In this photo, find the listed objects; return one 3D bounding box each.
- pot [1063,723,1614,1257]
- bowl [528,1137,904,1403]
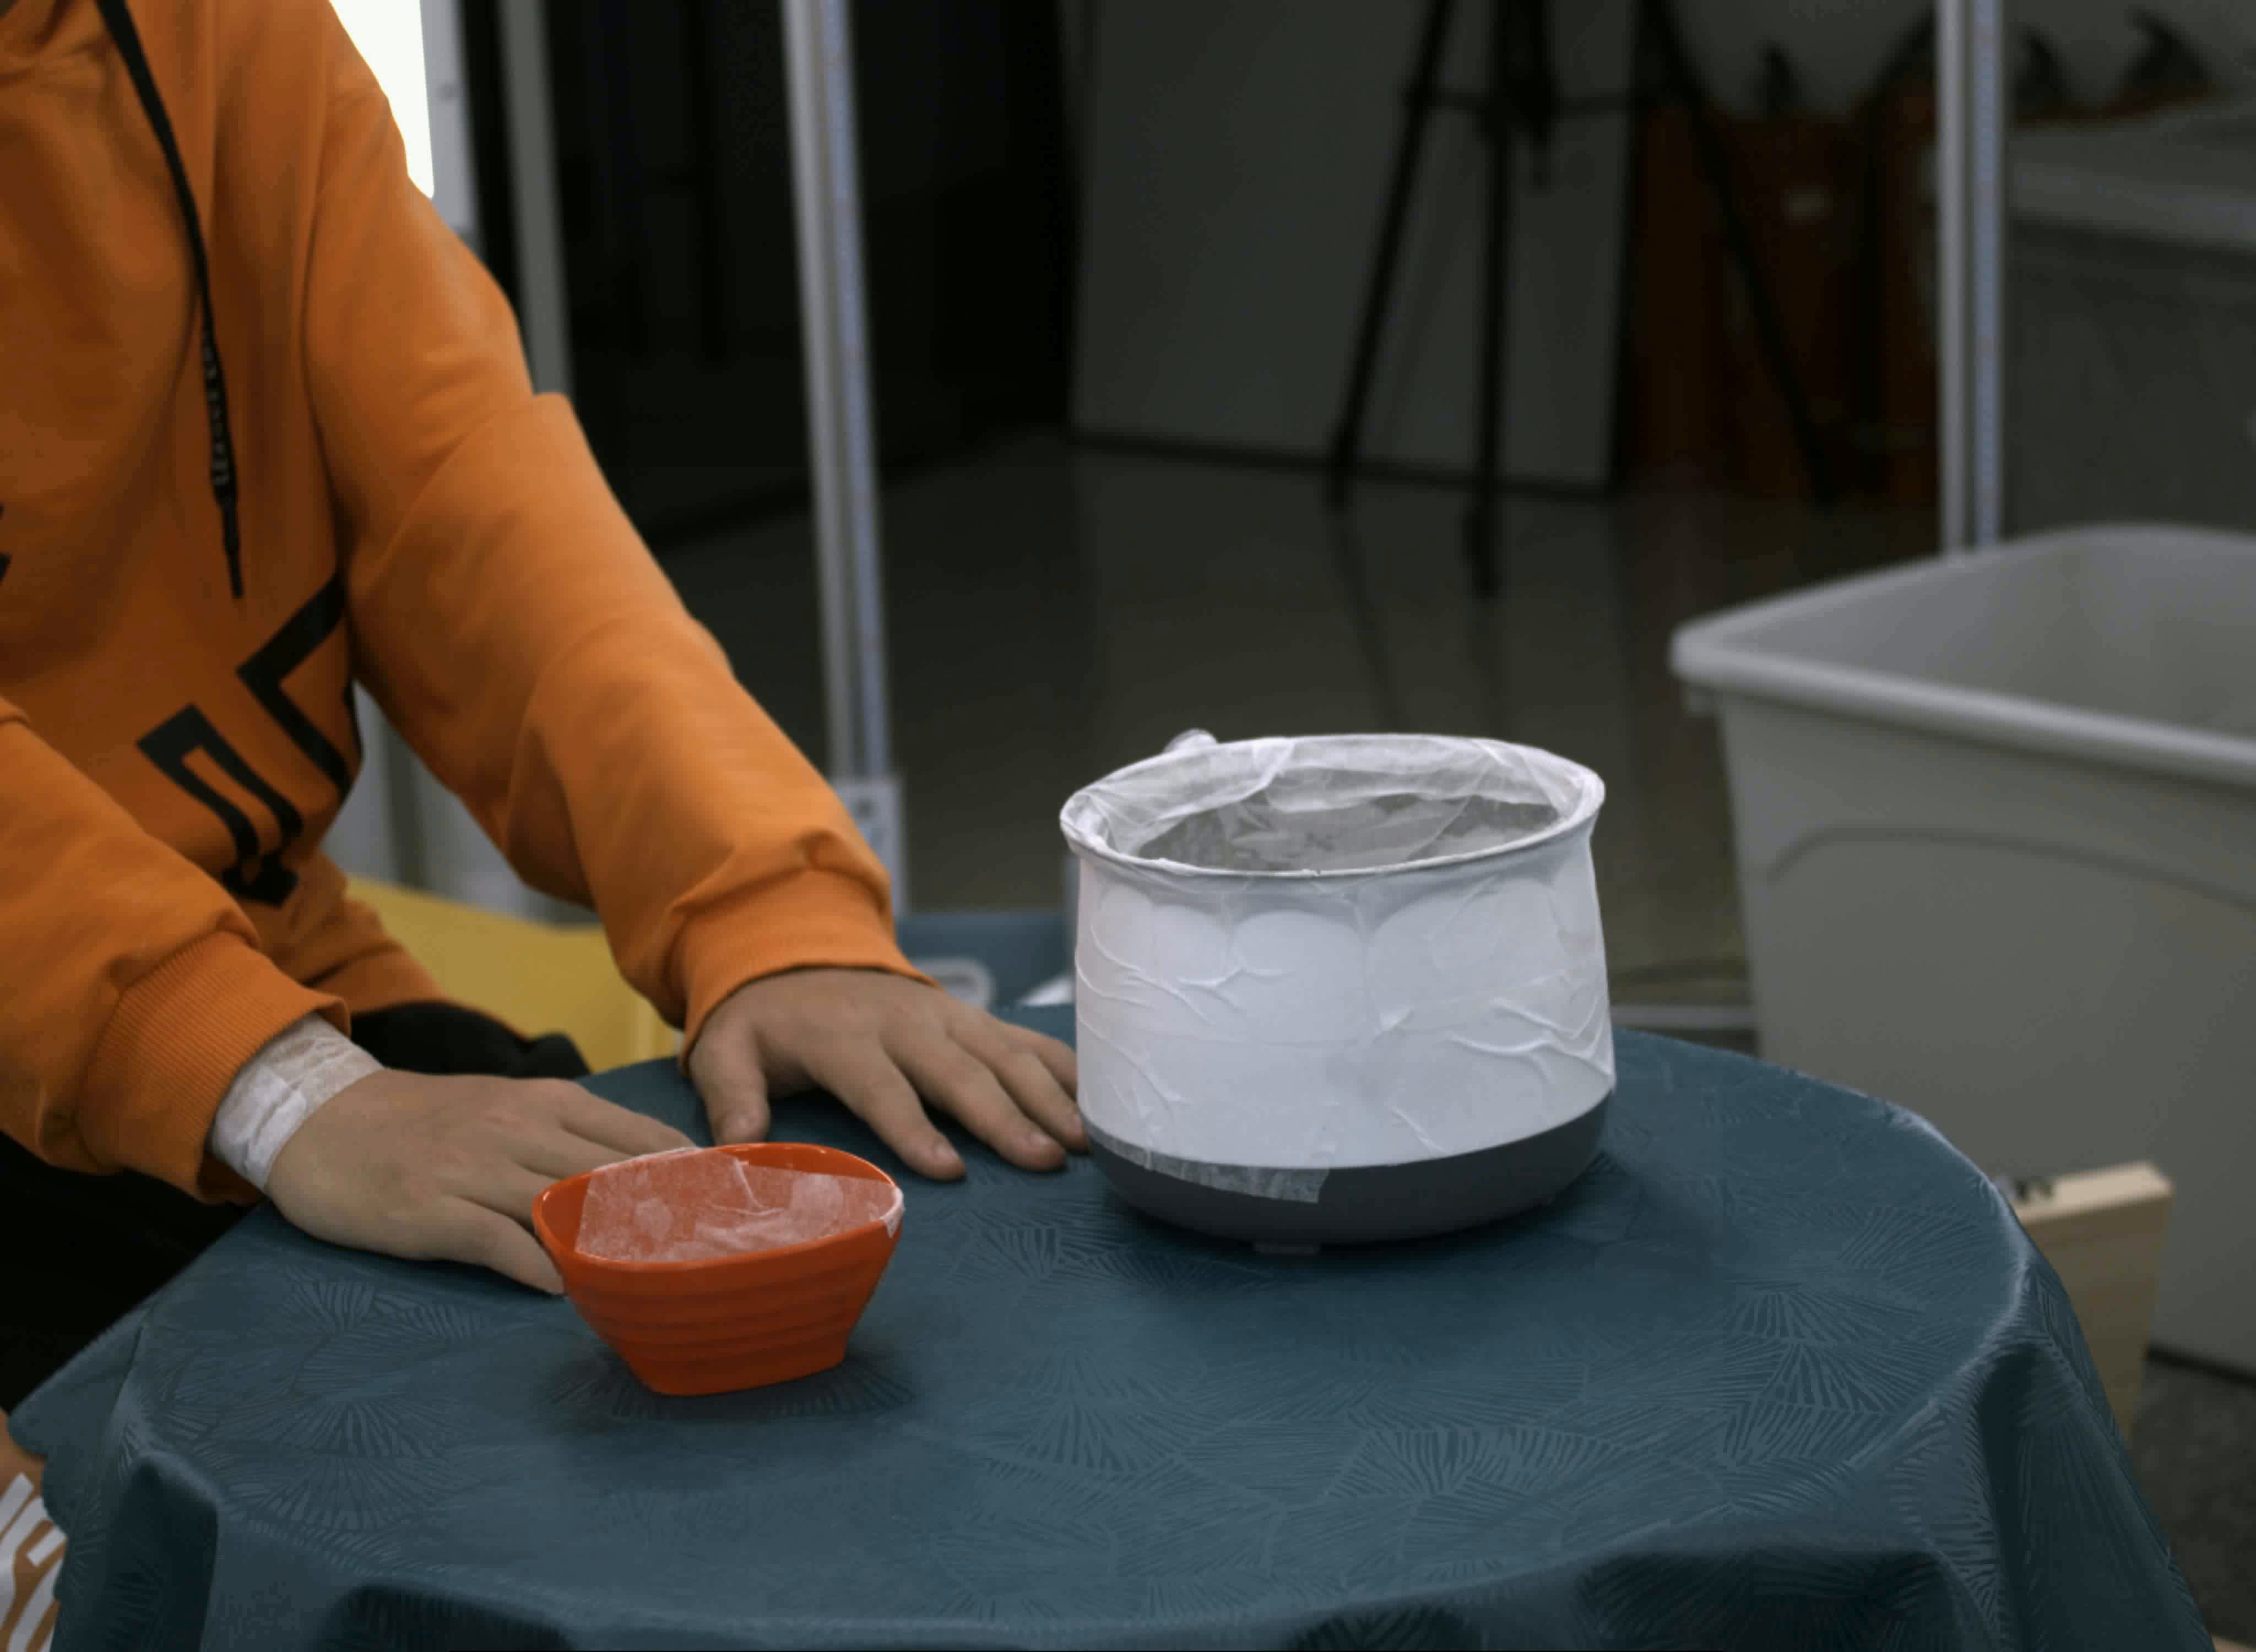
[{"bbox_3d":[0.056,0.047,1.767,0.175,0.138,0.236,-10,15,-25],"label":"pot"},{"bbox_3d":[-0.123,0.136,1.636,0.117,0.052,0.119,-5,16,0],"label":"bowl"}]
